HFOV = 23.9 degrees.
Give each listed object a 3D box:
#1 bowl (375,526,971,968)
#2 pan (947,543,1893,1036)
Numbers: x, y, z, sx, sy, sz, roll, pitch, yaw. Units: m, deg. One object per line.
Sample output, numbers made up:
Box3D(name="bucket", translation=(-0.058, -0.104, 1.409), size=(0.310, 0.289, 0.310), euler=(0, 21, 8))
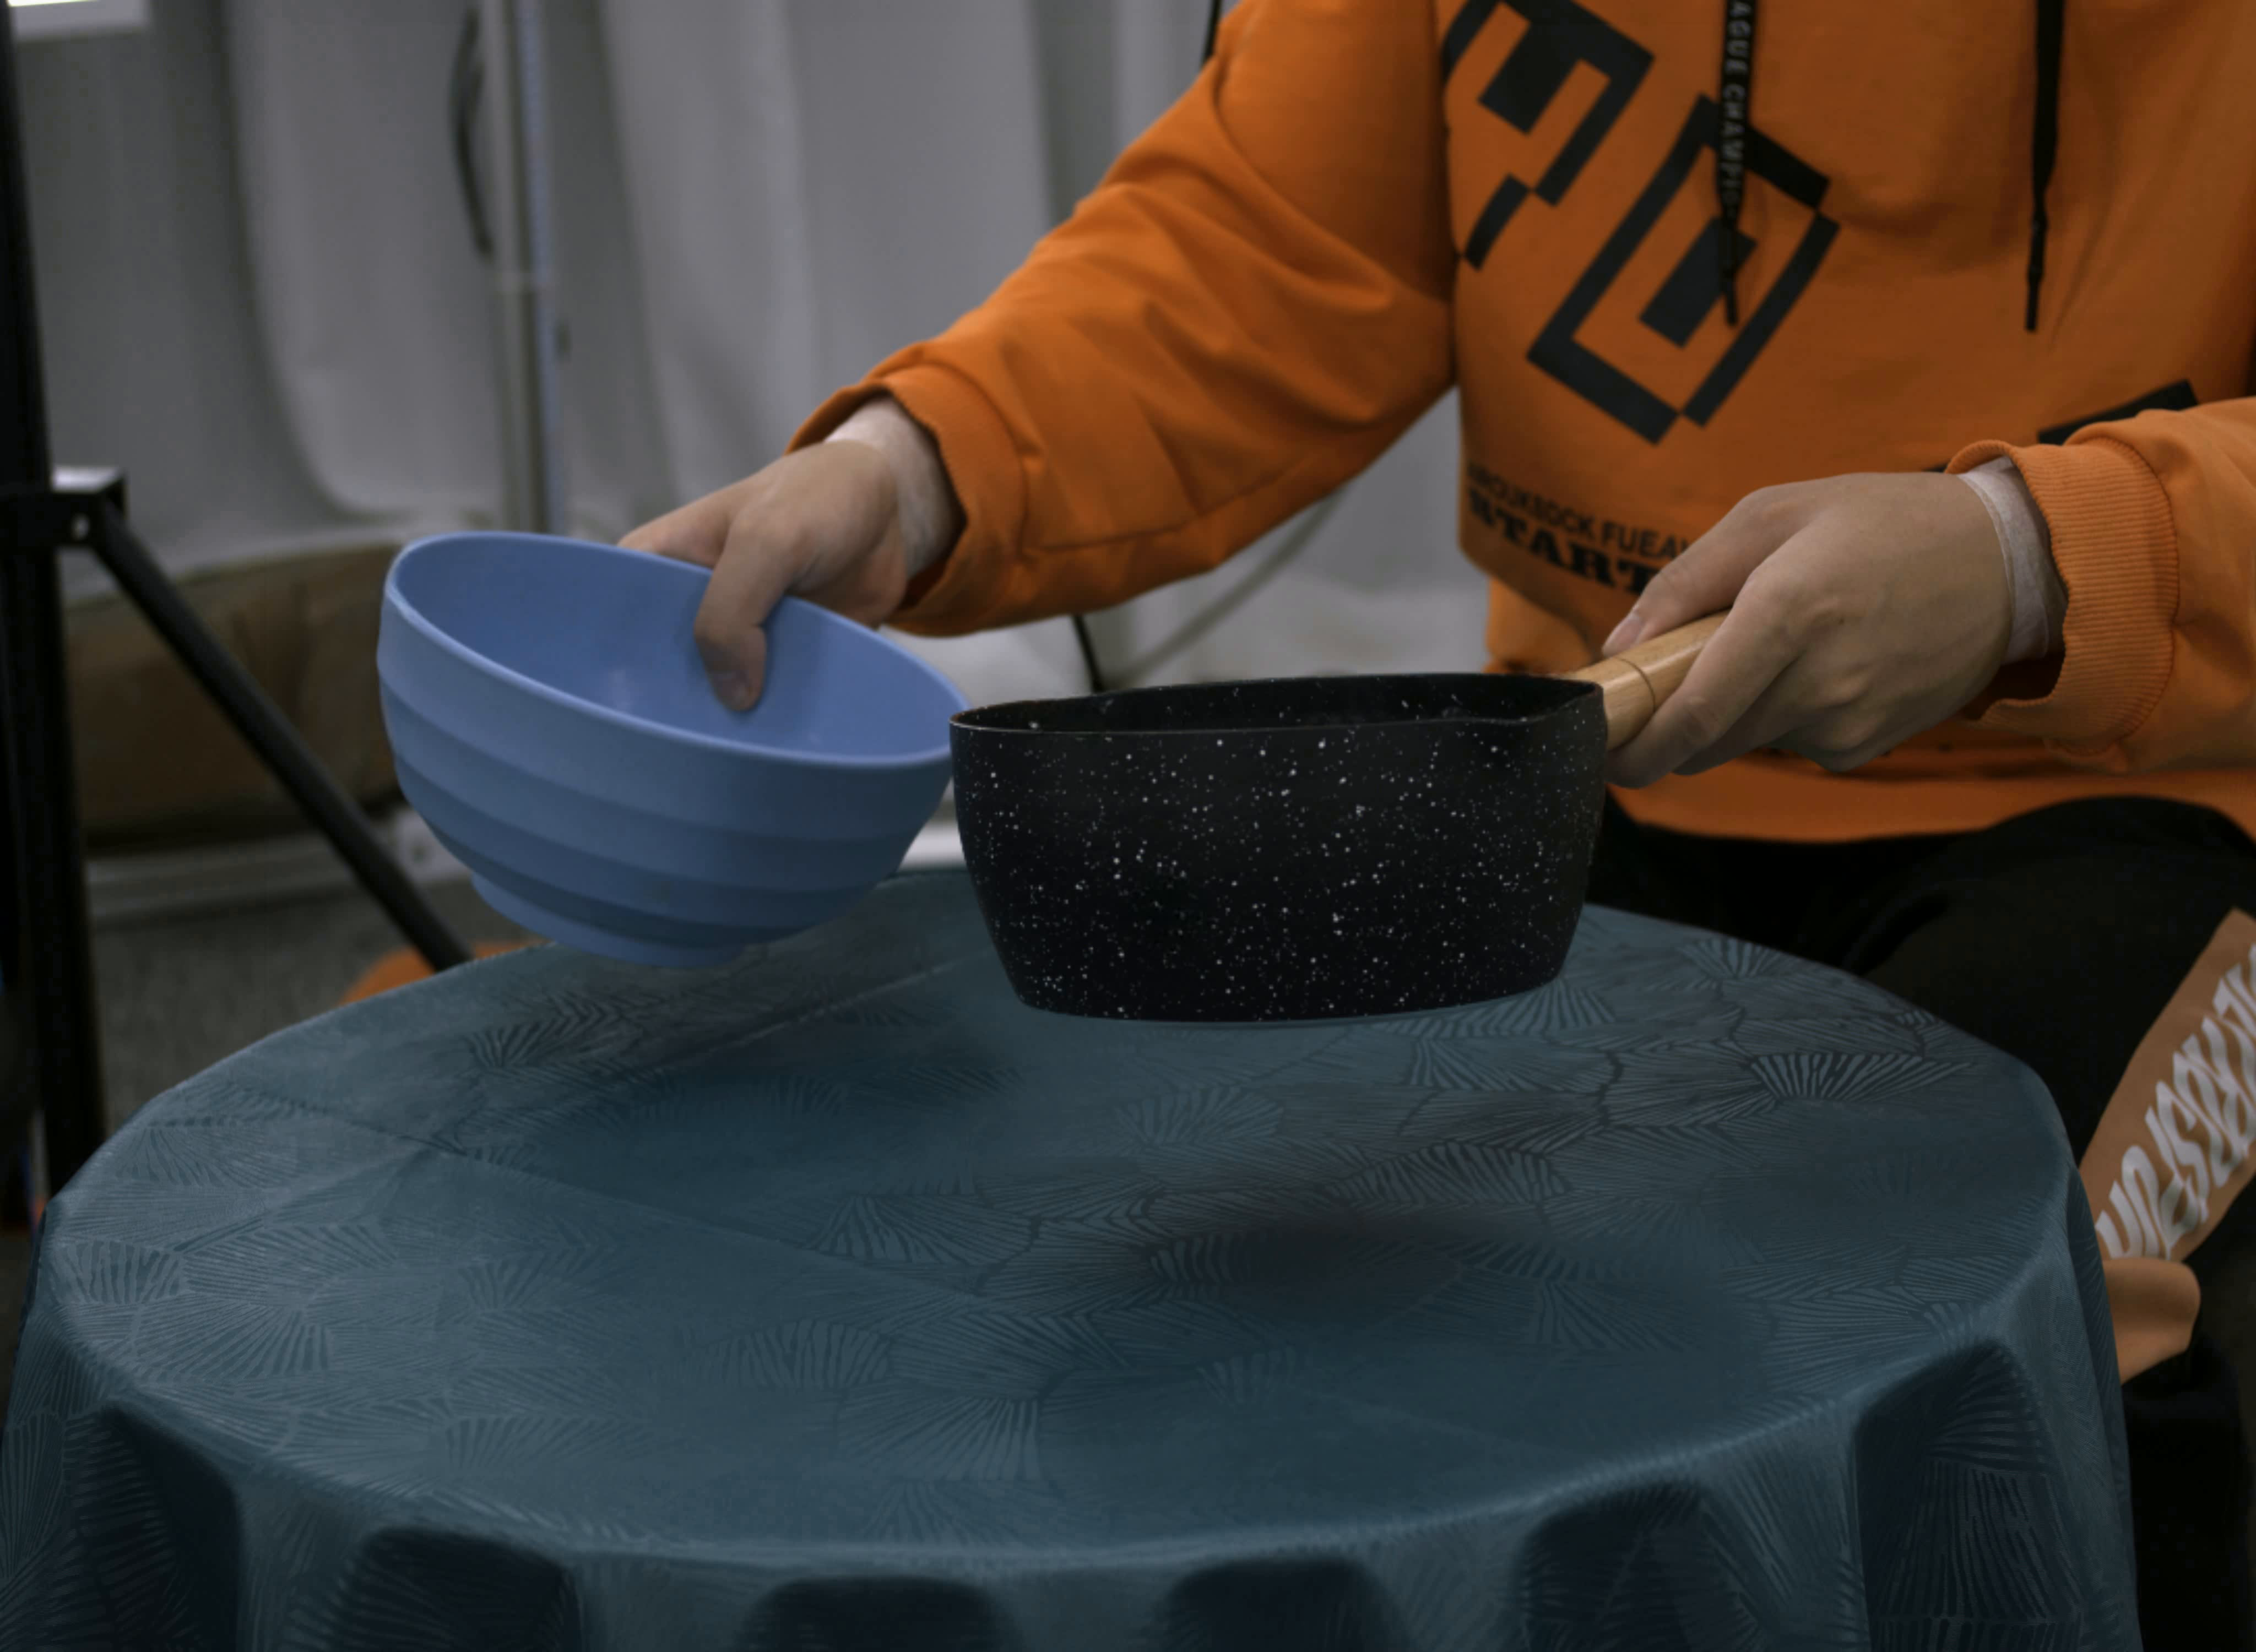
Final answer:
Box3D(name="bowl", translation=(-0.156, -0.016, 1.714), size=(0.194, 0.096, 0.197), euler=(16, 17, -6))
Box3D(name="pan", translation=(0.102, -0.013, 1.536), size=(0.334, 0.108, 0.212), euler=(-9, 7, -40))
